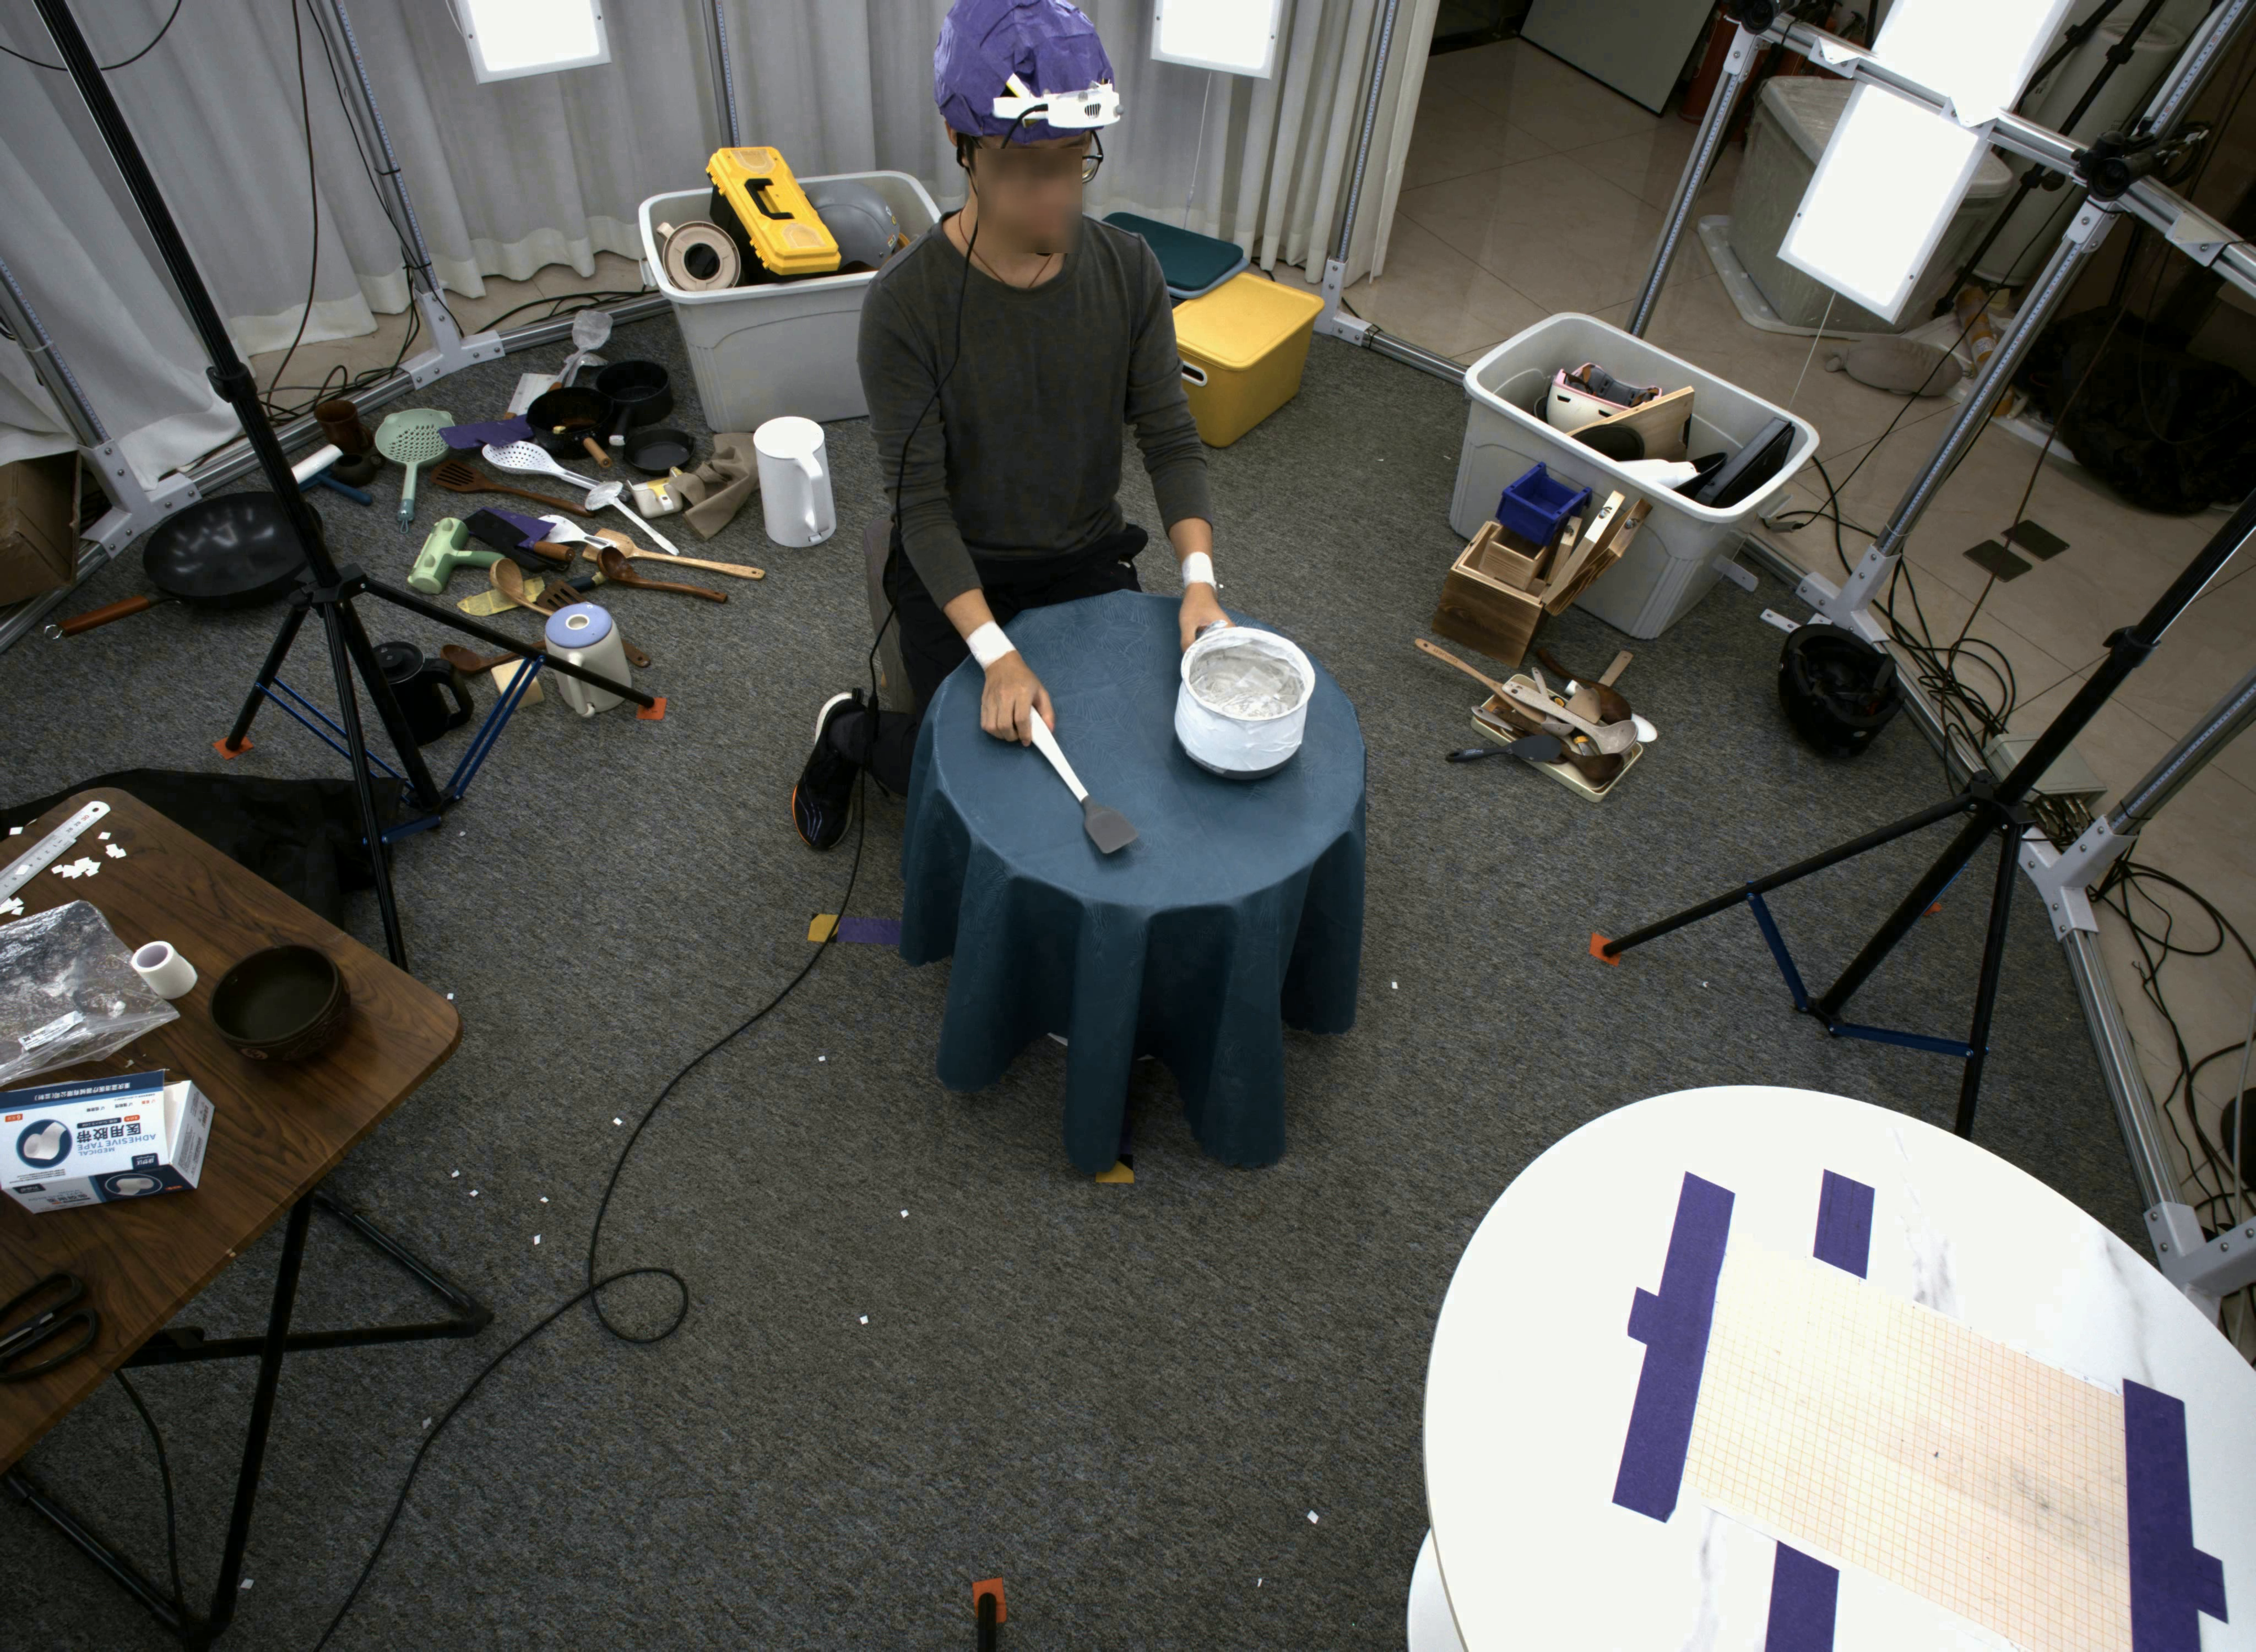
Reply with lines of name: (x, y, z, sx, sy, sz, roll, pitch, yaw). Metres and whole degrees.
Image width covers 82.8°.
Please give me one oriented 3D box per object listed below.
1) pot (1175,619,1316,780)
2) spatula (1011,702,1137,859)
pot: (0.145, -0.182, 1.746, 0.178, 0.133, 0.239, -12, 51, -15)
spatula: (-0.077, -0.063, 1.696, 0.059, 0.031, 0.294, -27, 55, -12)
